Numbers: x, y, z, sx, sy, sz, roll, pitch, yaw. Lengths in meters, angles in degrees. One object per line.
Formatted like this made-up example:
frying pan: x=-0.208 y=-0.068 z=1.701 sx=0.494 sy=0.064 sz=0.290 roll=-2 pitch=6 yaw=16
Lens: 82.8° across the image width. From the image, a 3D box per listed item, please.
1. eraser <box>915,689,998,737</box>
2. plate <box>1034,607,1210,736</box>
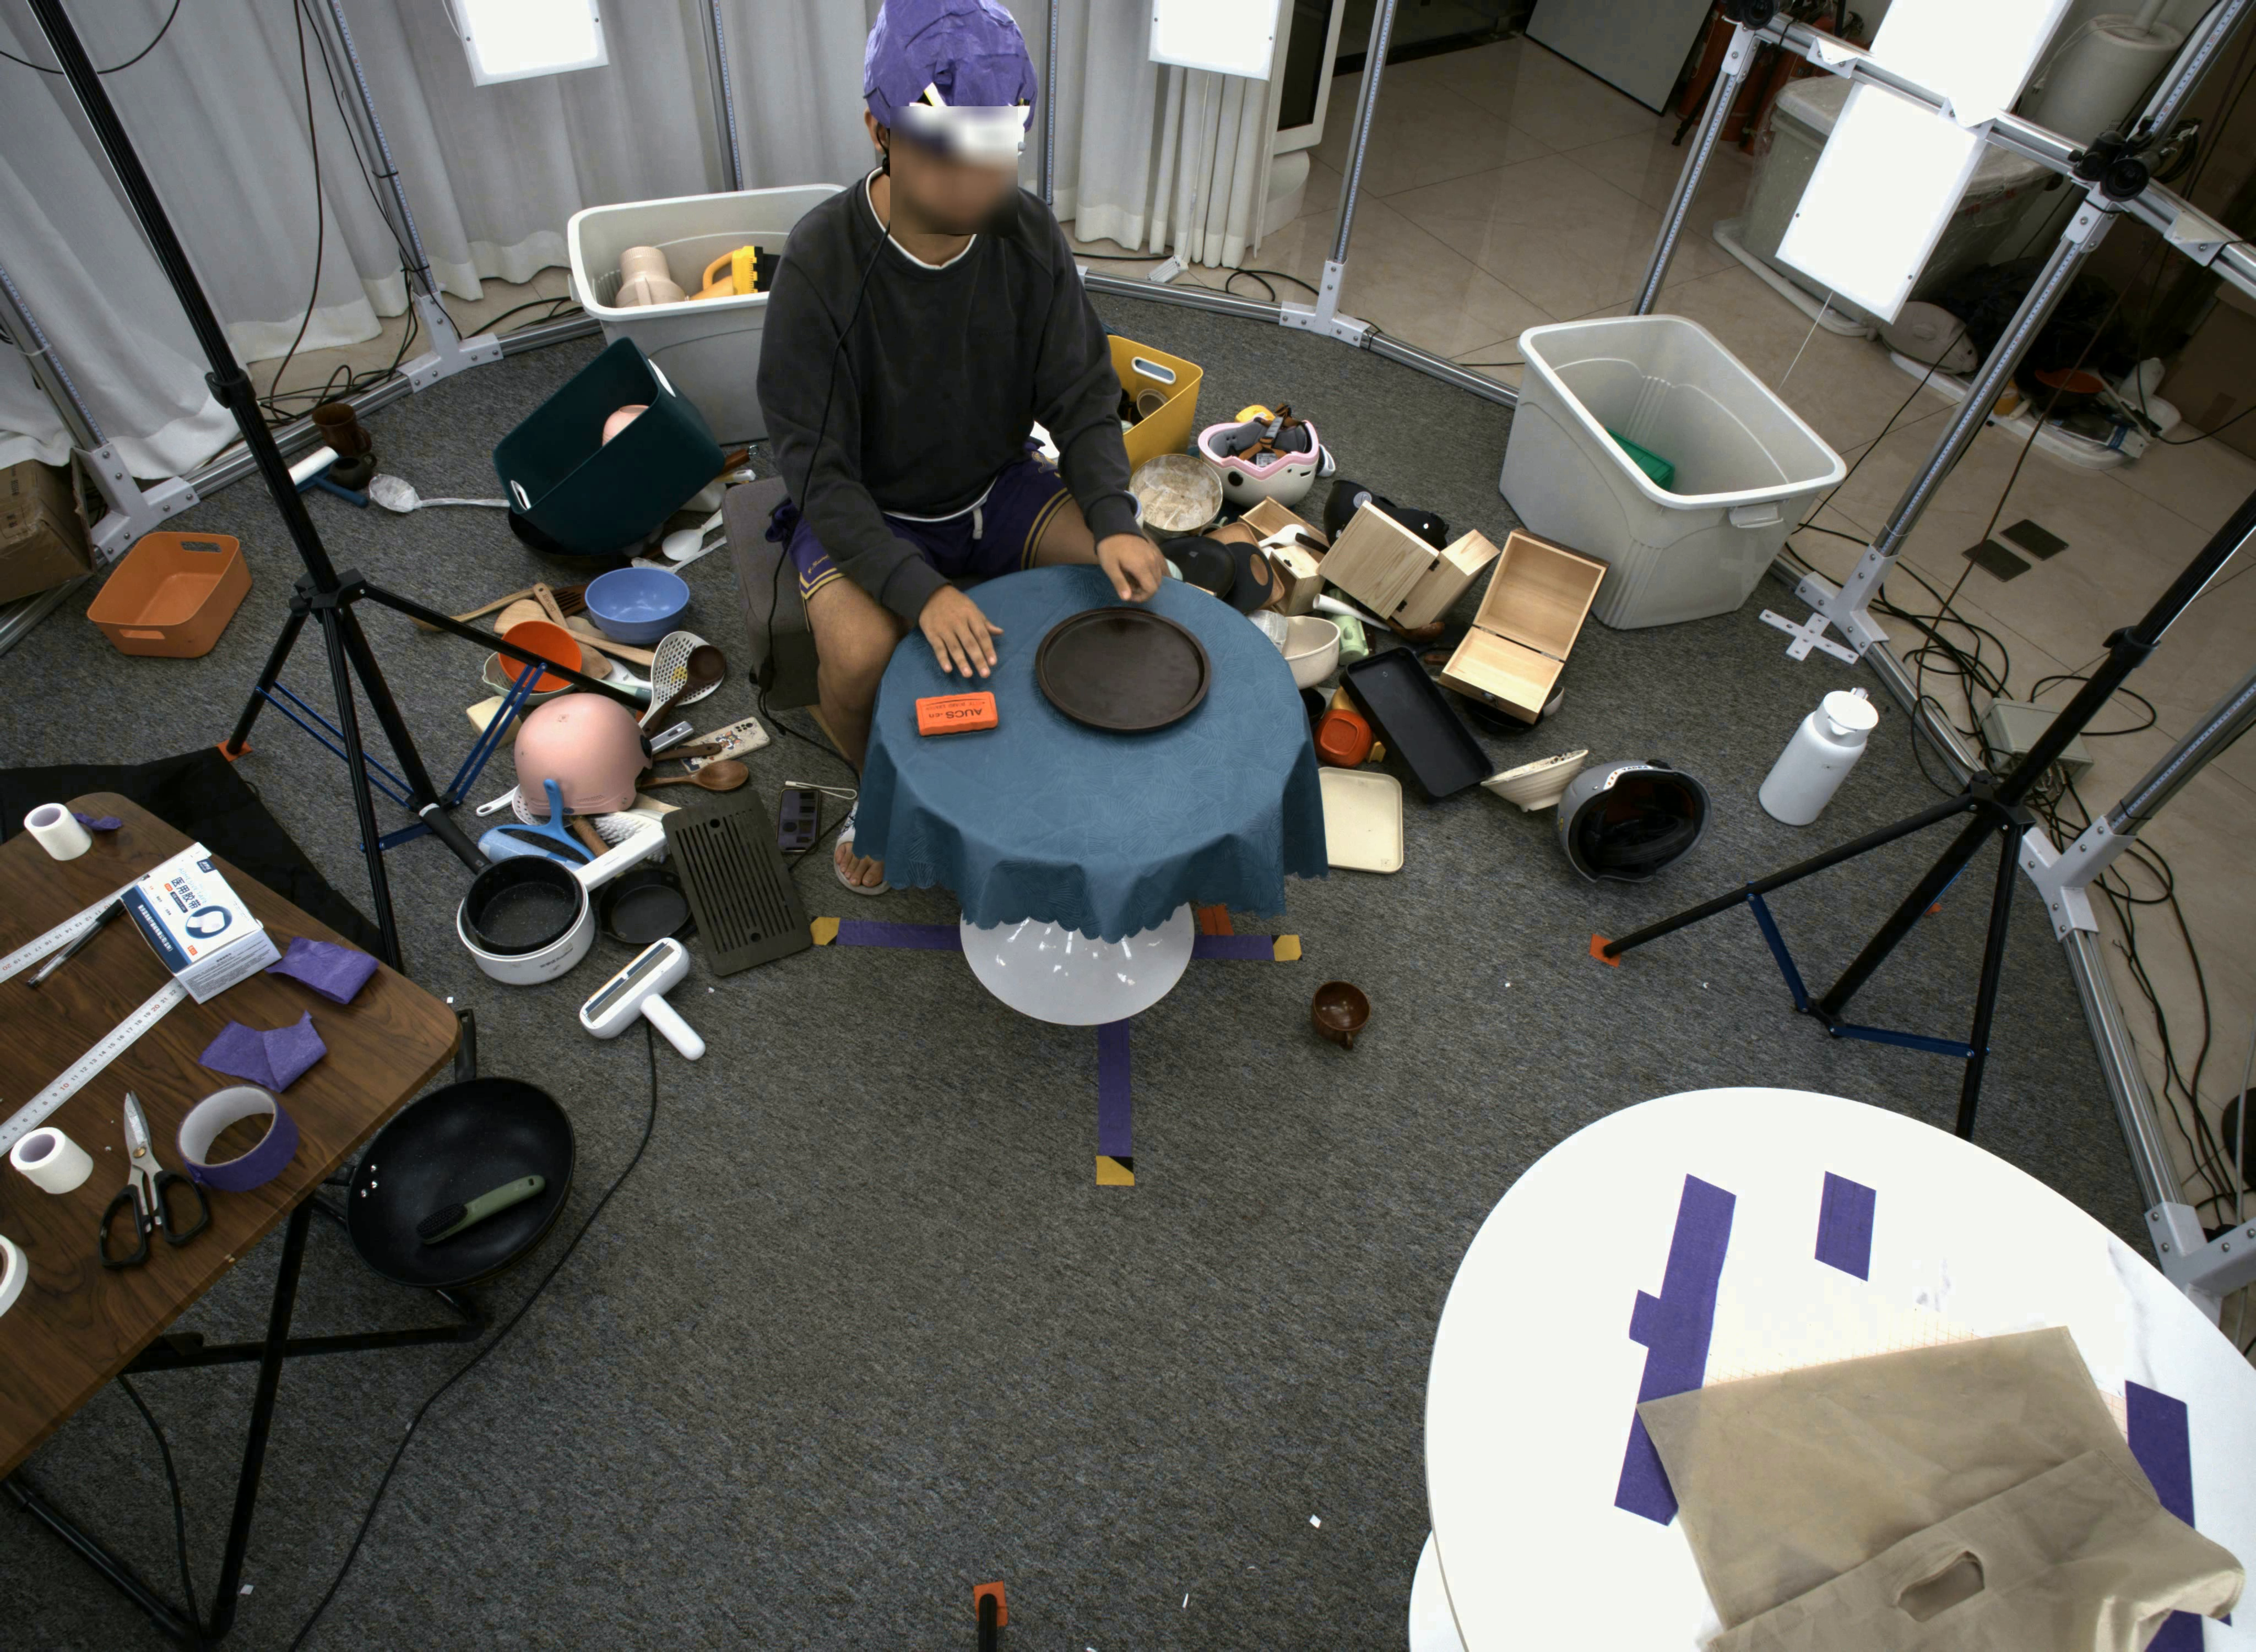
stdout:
eraser: x=-0.235 y=-0.155 z=1.766 sx=0.108 sy=0.022 sz=0.060 roll=-8 pitch=50 yaw=-10
plate: x=-0.008 y=-0.224 z=1.846 sx=0.254 sy=0.028 sz=0.261 roll=1 pitch=50 yaw=-1
